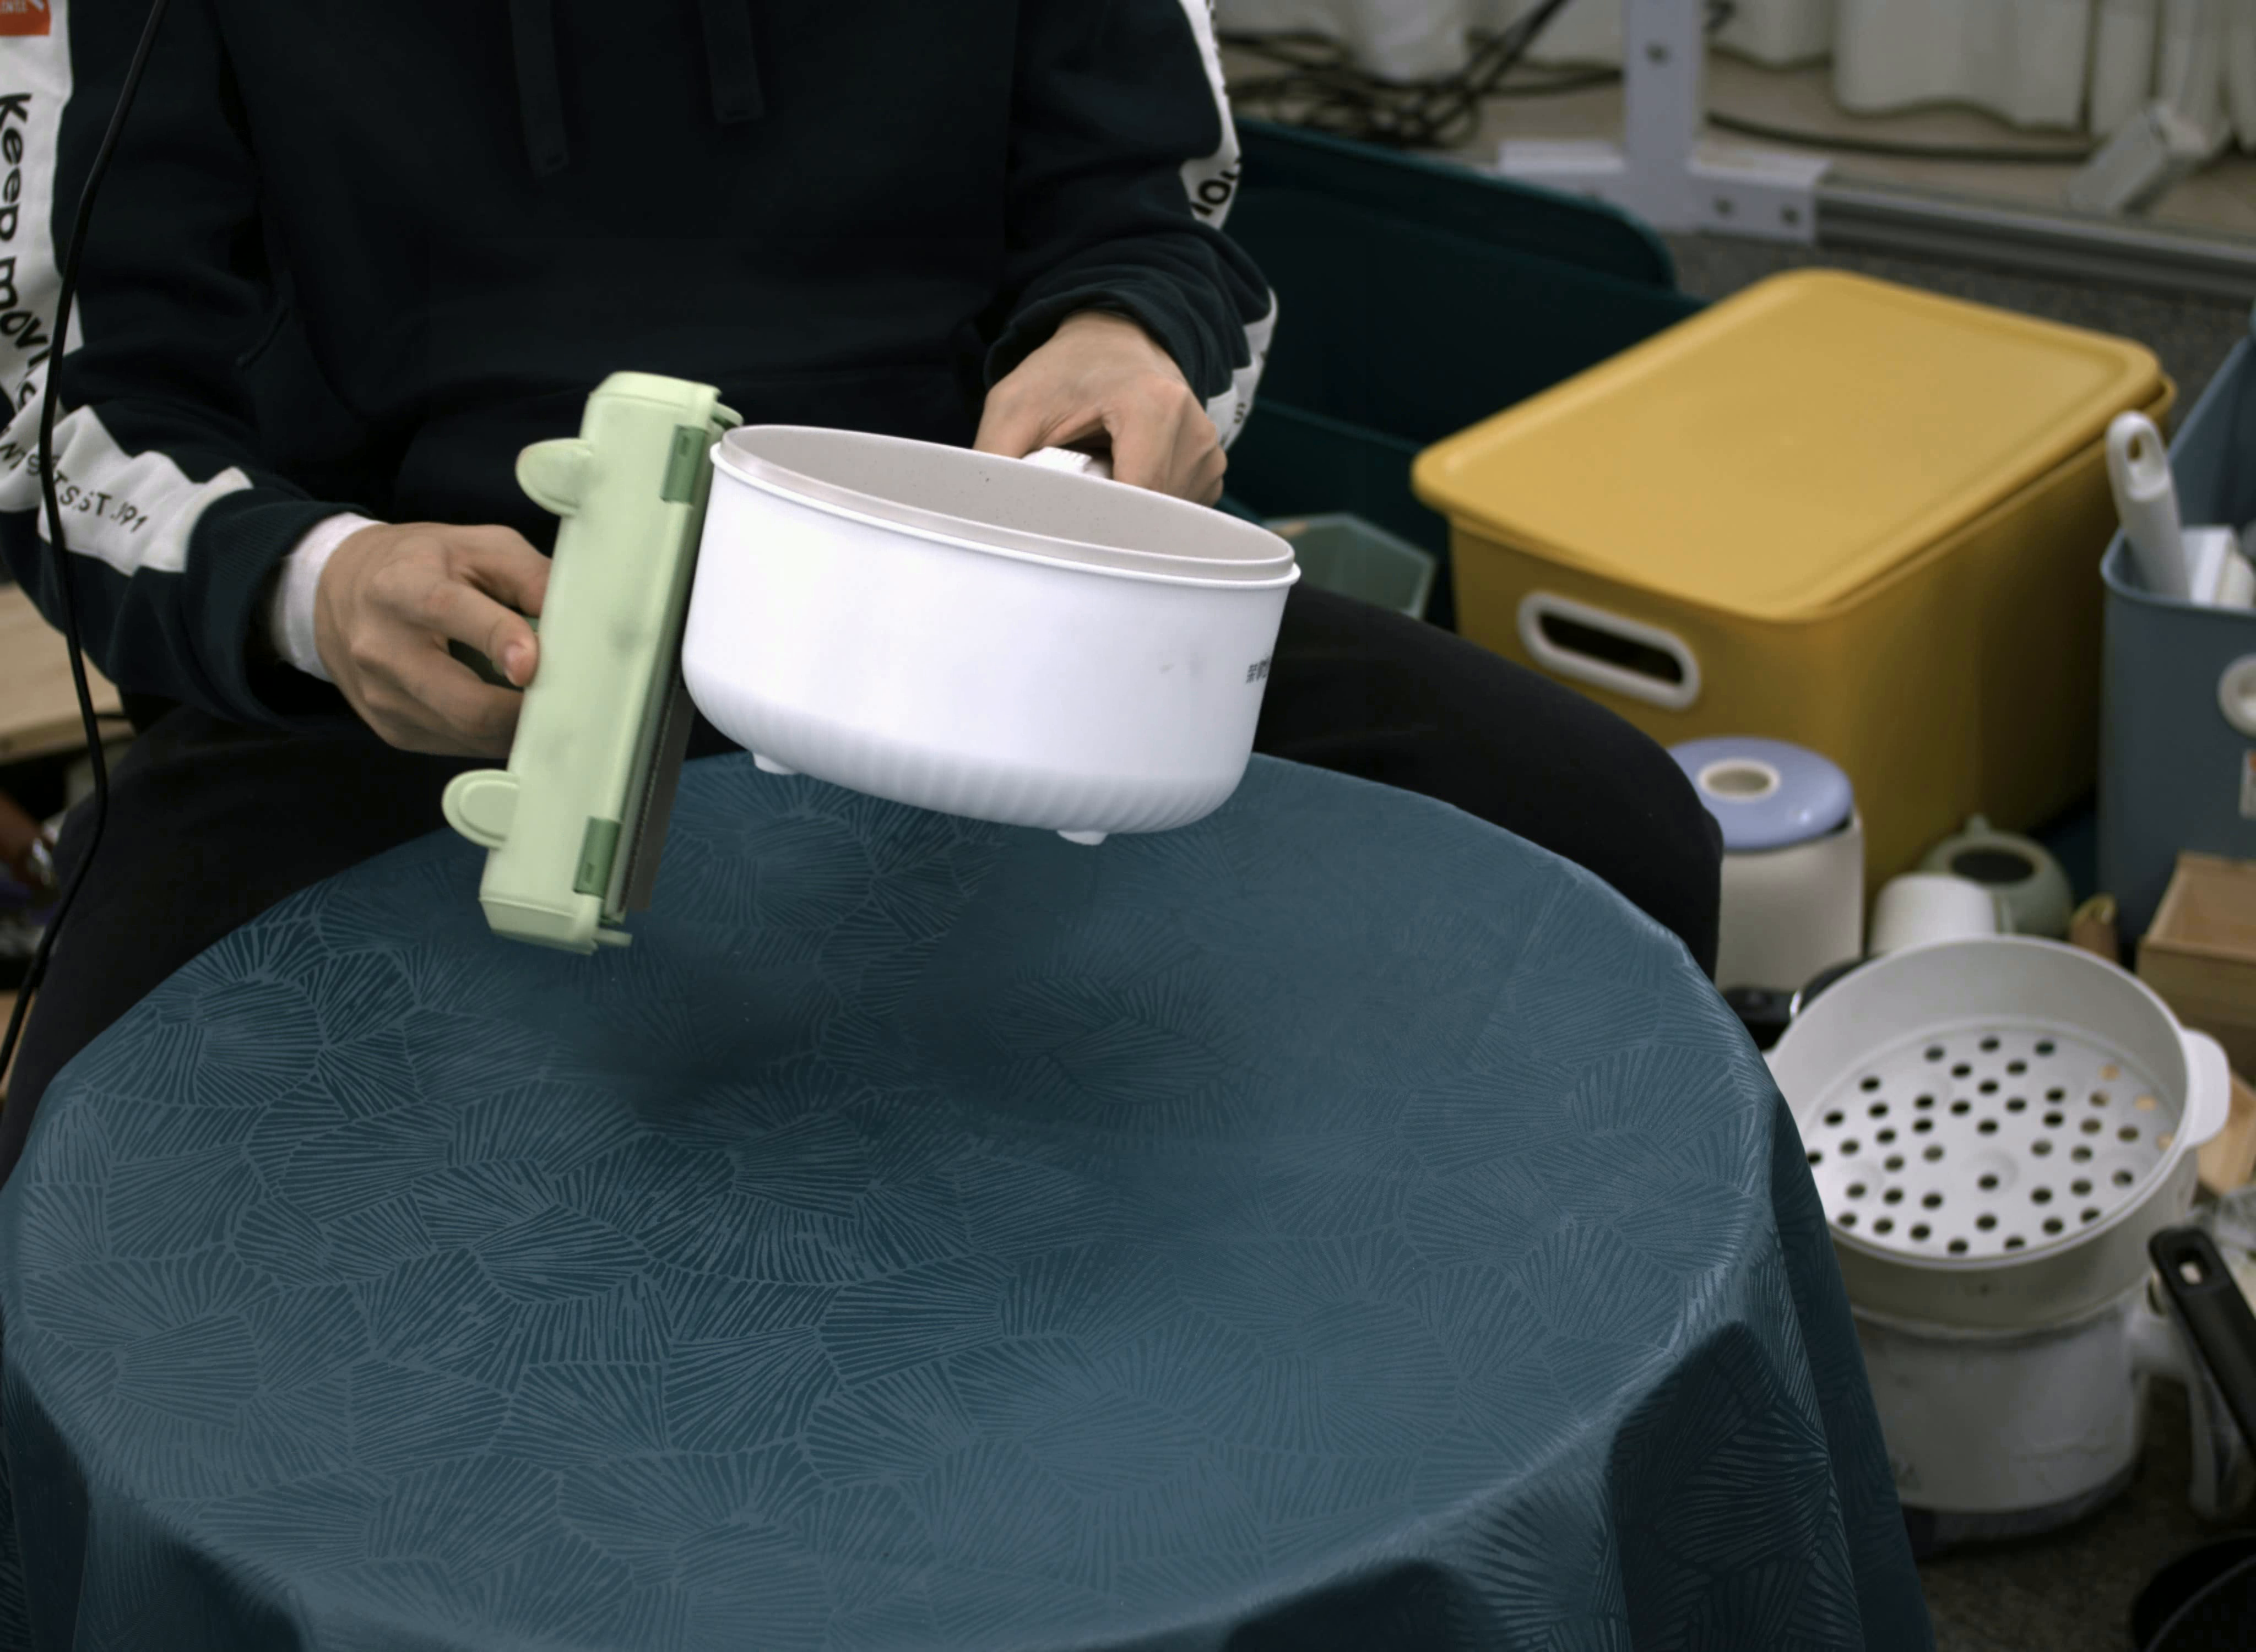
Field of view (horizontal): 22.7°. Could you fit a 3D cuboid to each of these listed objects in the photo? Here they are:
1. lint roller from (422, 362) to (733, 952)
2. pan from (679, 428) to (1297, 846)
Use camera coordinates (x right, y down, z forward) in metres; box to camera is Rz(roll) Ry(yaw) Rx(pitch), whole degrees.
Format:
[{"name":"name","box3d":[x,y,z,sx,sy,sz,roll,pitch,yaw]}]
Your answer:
[{"name":"lint roller","box3d":[-0.215,-0.061,1.943,0.082,0.200,0.182,17,-9,-38]},{"name":"pan","box3d":[-0.042,-0.072,1.958,0.200,0.102,0.356,13,9,4]}]
